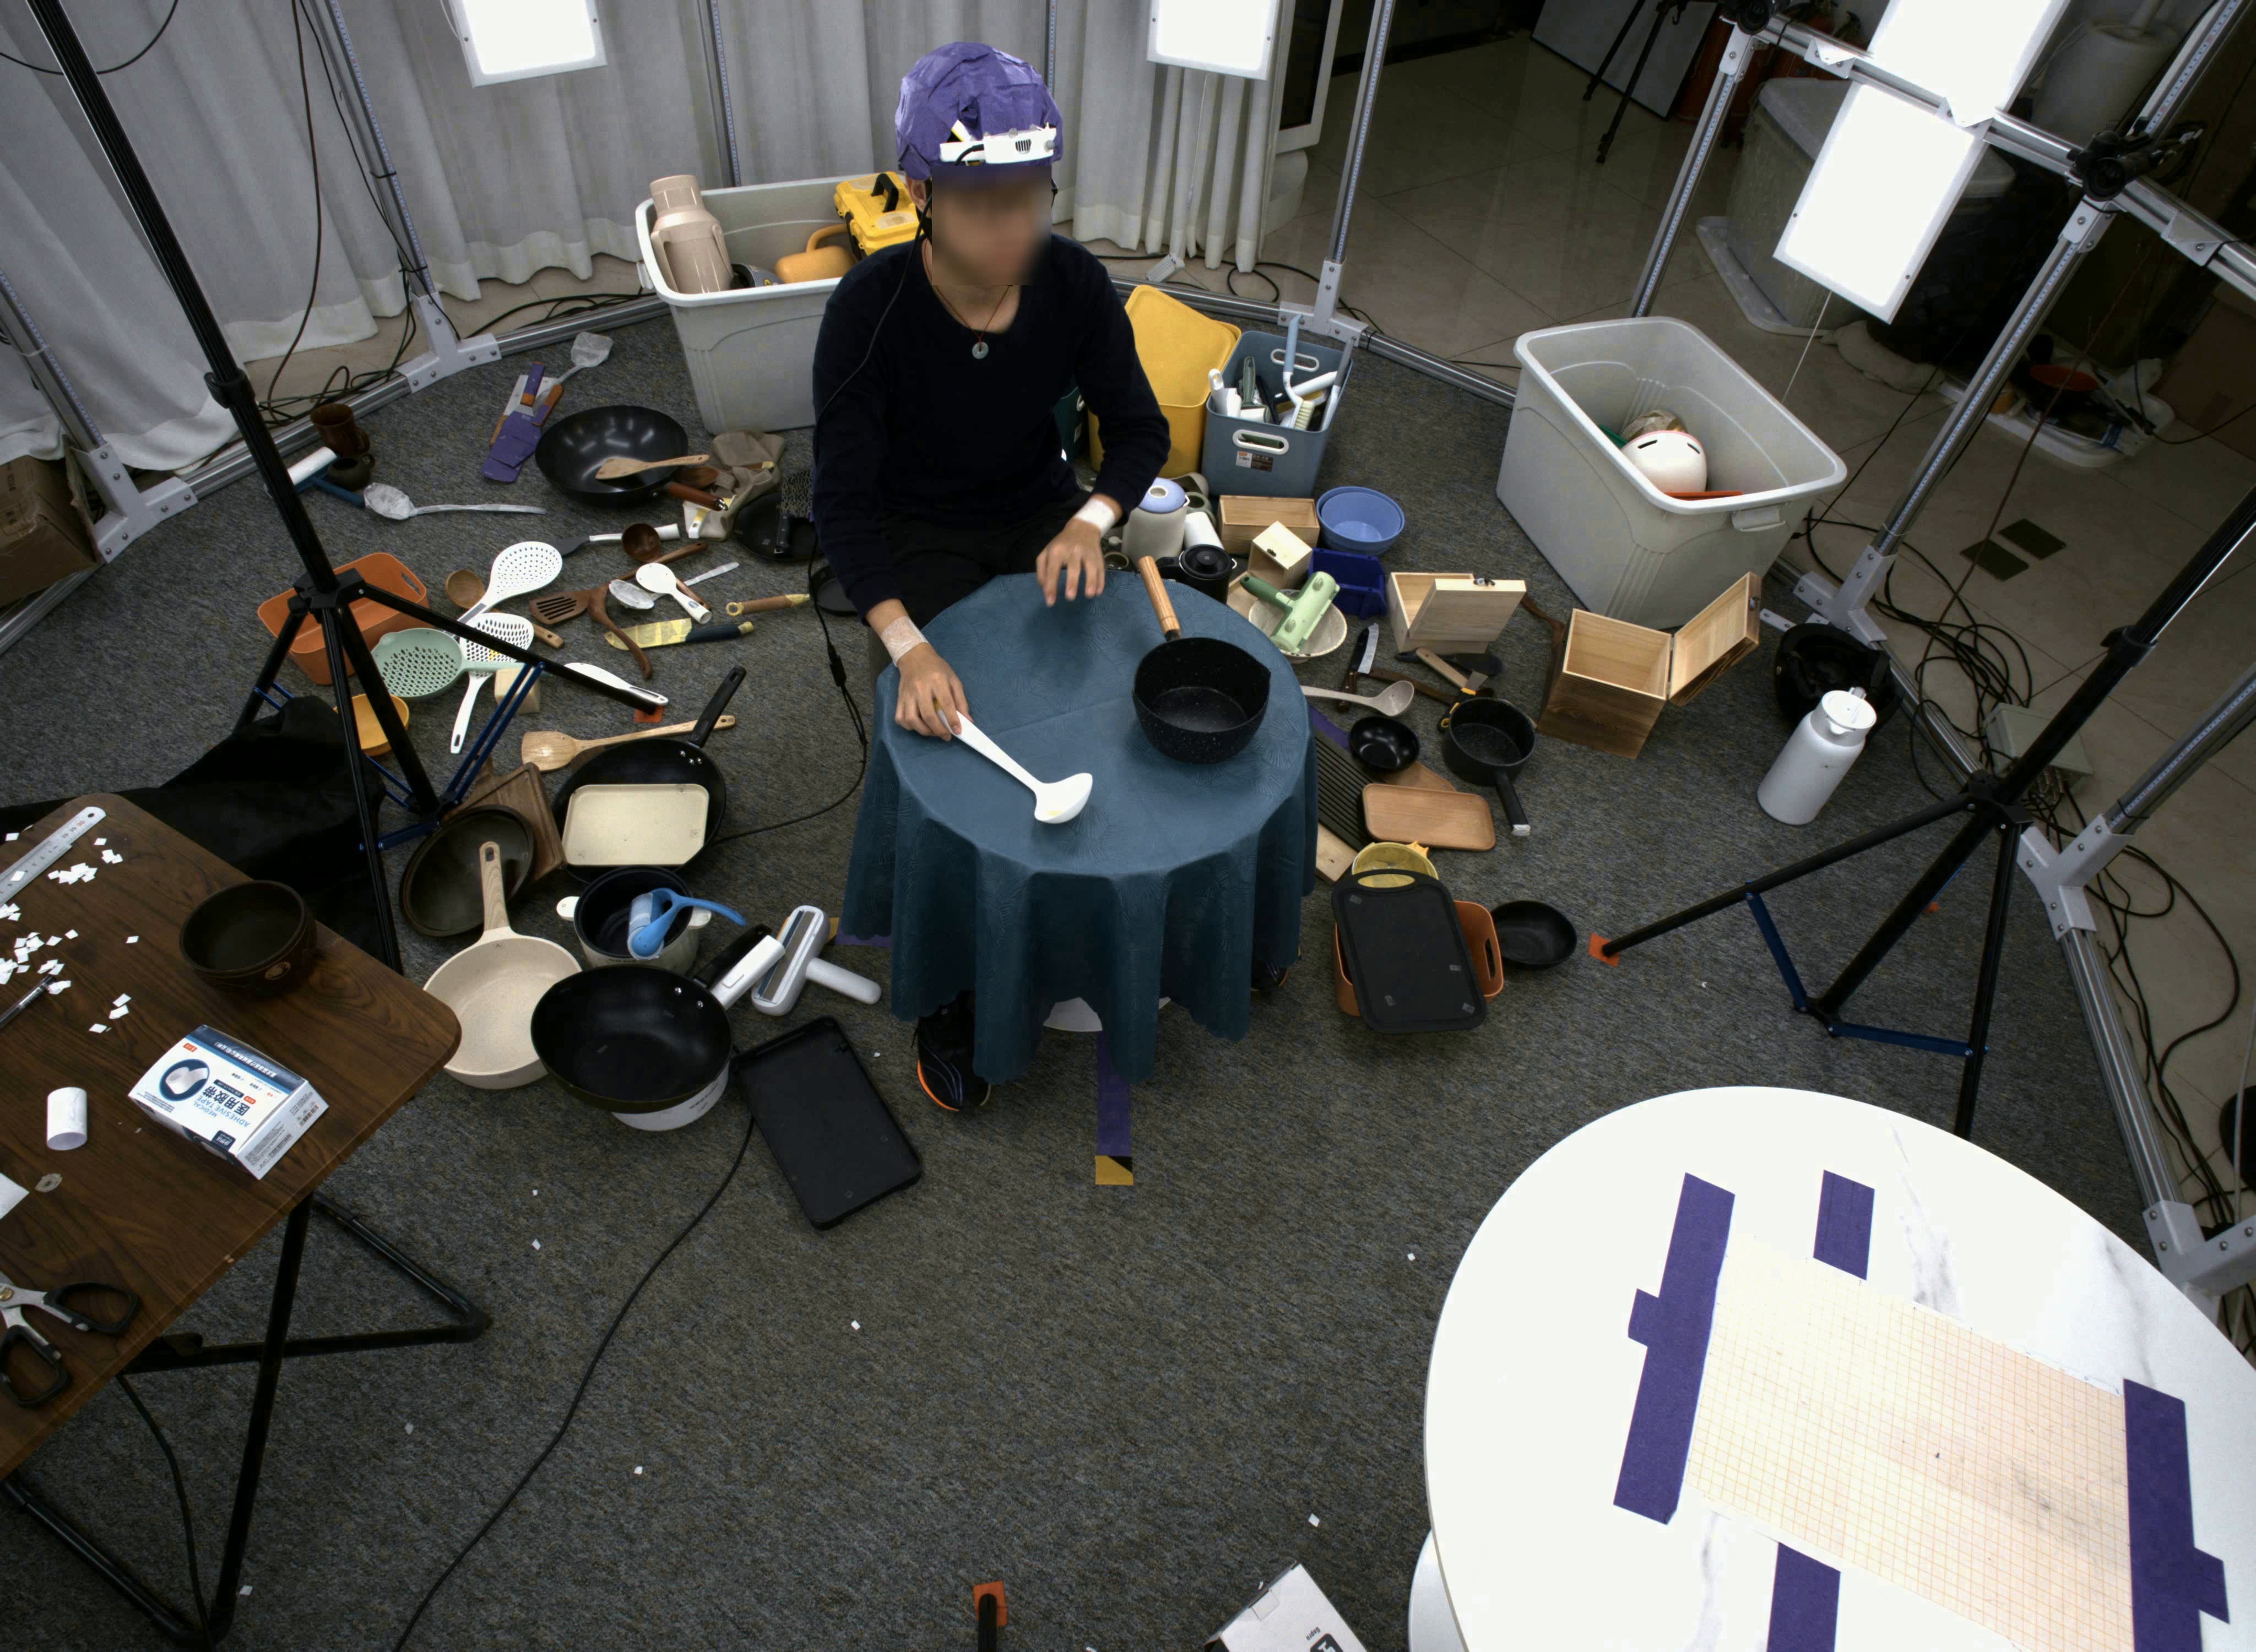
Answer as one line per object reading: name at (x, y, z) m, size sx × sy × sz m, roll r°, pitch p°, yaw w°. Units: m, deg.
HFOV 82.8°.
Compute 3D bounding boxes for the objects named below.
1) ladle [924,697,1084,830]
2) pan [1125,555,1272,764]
ladle at (-0.172, -0.091, 1.698) m, size 0.297 × 0.068 × 0.090 m, roll 39°, pitch 79°, yaw 27°
pan at (0.073, -0.234, 1.807) m, size 0.207 × 0.105 × 0.351 m, roll -13°, pitch 53°, yaw -14°
